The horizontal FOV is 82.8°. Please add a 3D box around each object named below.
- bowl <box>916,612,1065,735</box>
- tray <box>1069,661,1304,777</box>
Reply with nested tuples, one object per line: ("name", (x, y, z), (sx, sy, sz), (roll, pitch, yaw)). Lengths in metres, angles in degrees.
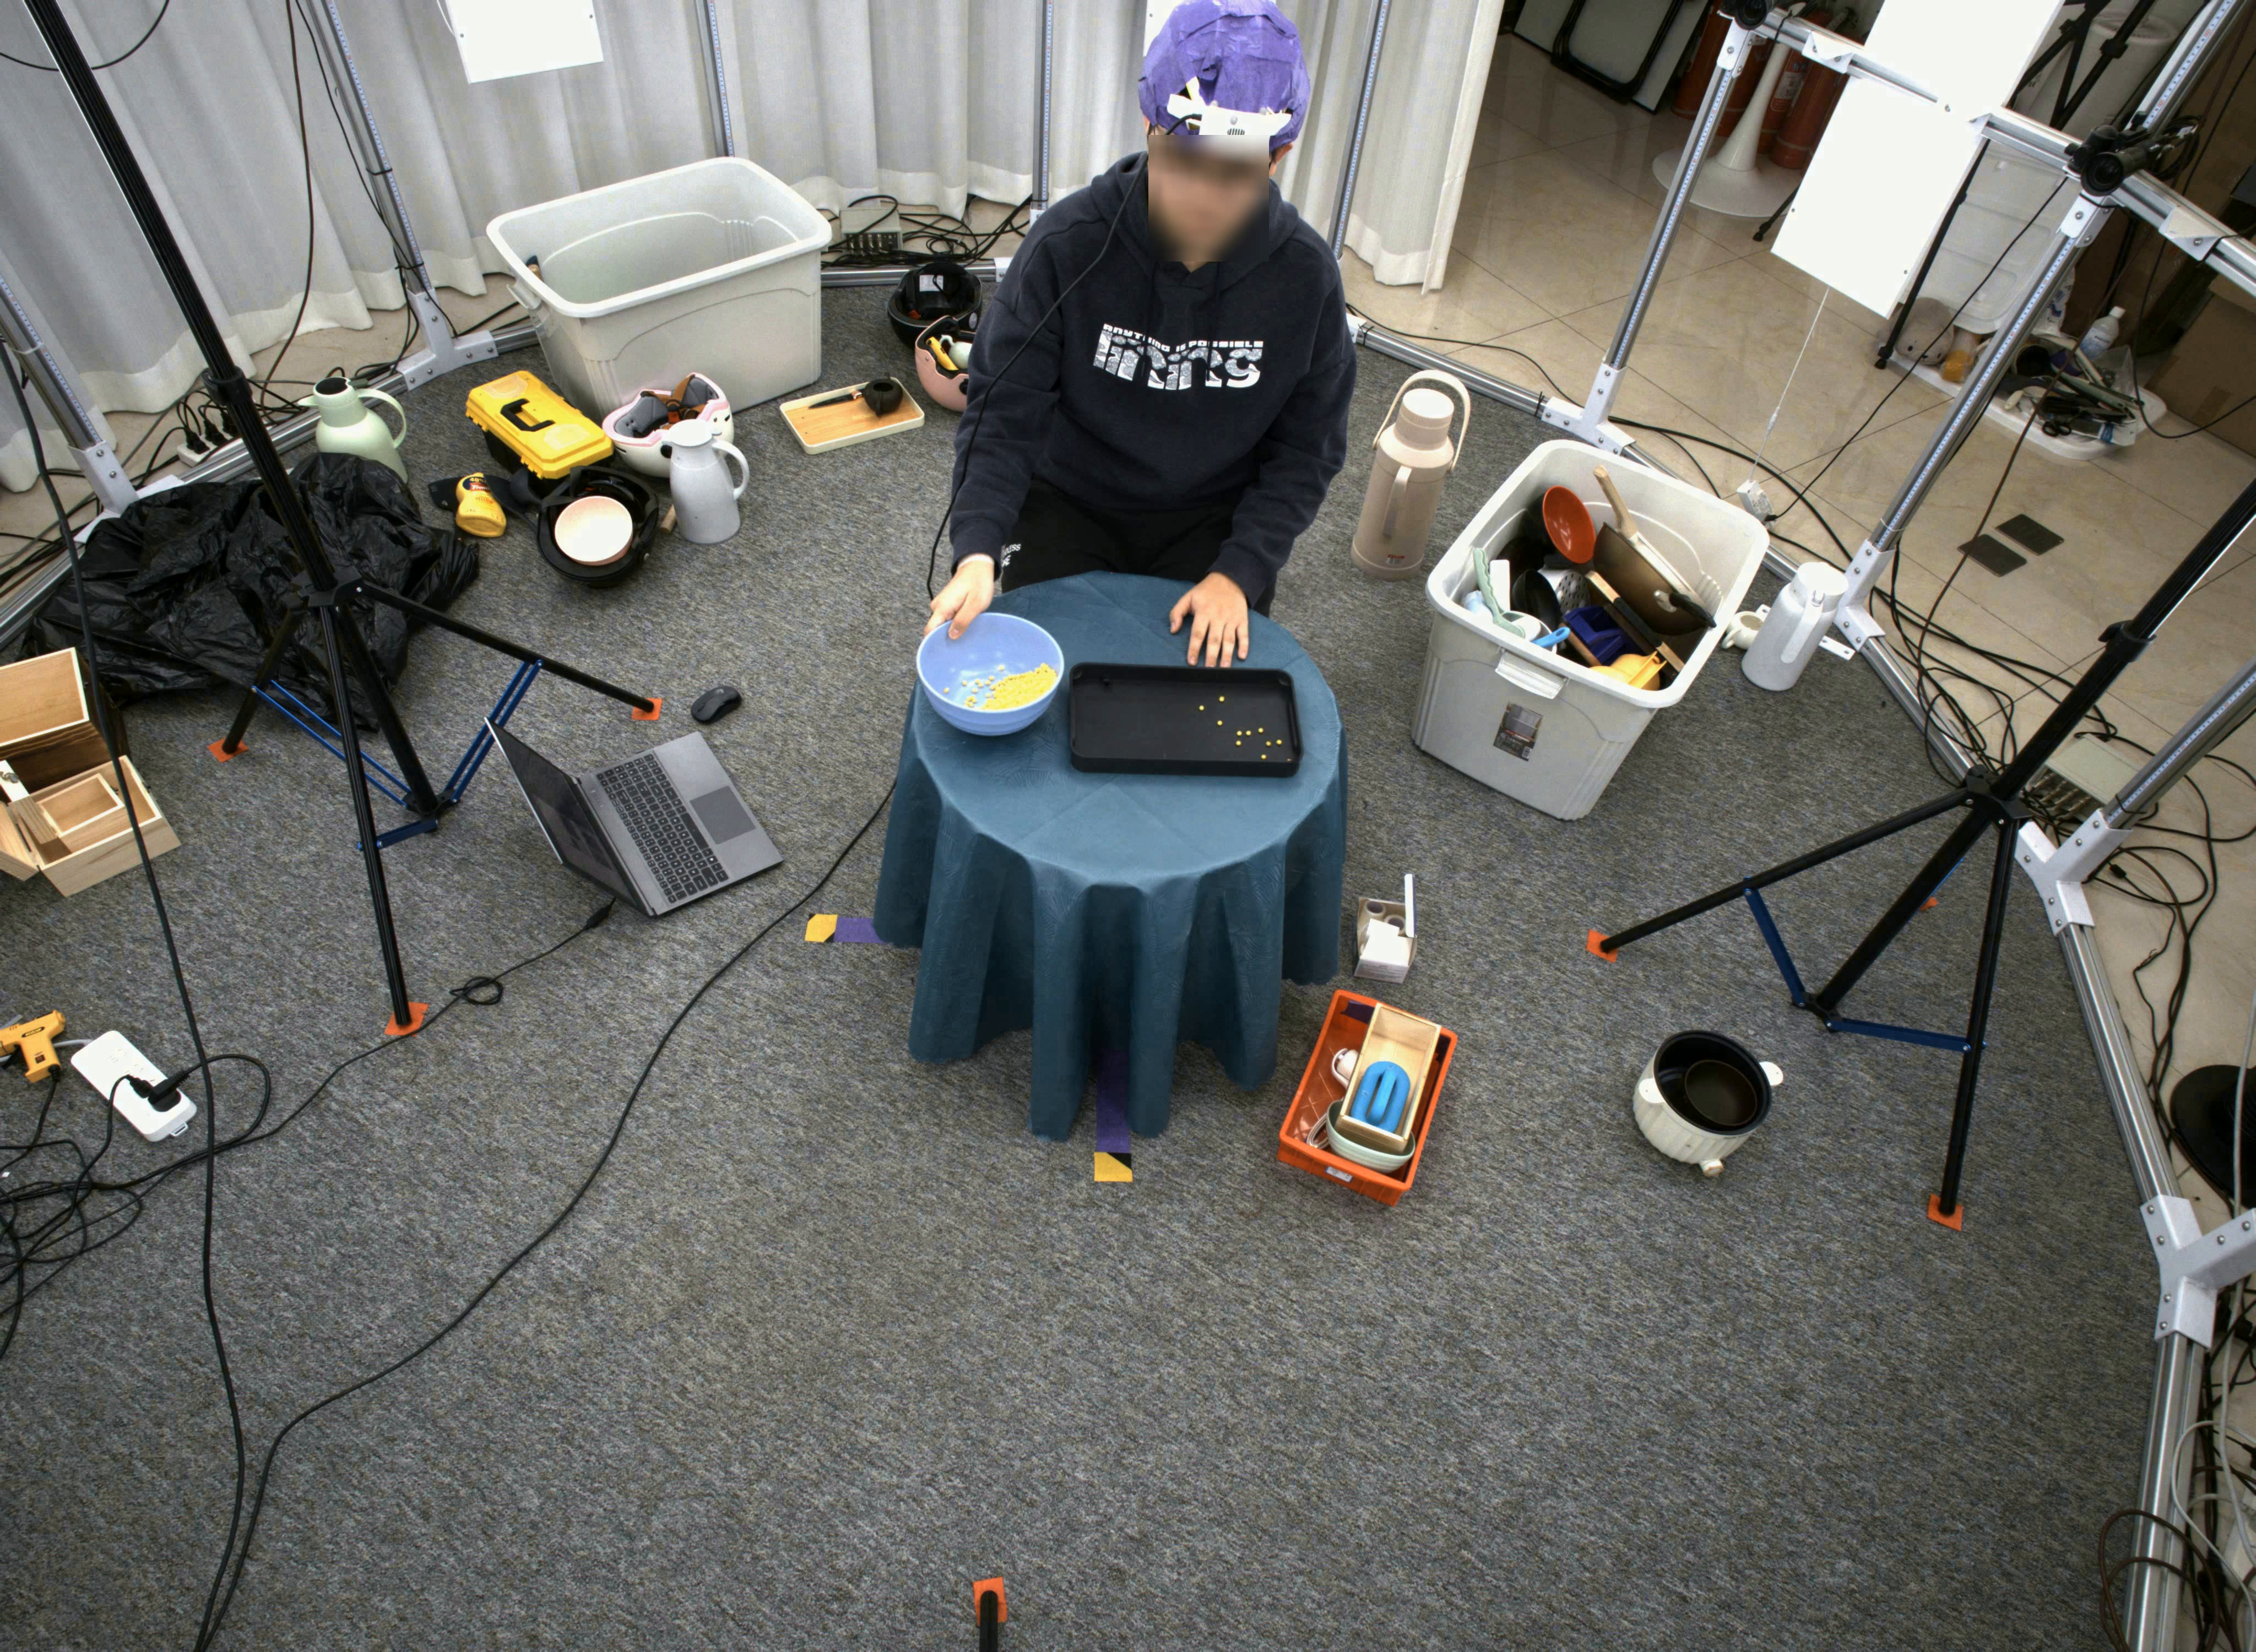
("bowl", (-0.185, -0.191, 1.744), (0.196, 0.093, 0.201), (2, 48, -3))
("tray", (0.076, -0.149, 1.776), (0.317, 0.036, 0.189), (2, 49, -3))
